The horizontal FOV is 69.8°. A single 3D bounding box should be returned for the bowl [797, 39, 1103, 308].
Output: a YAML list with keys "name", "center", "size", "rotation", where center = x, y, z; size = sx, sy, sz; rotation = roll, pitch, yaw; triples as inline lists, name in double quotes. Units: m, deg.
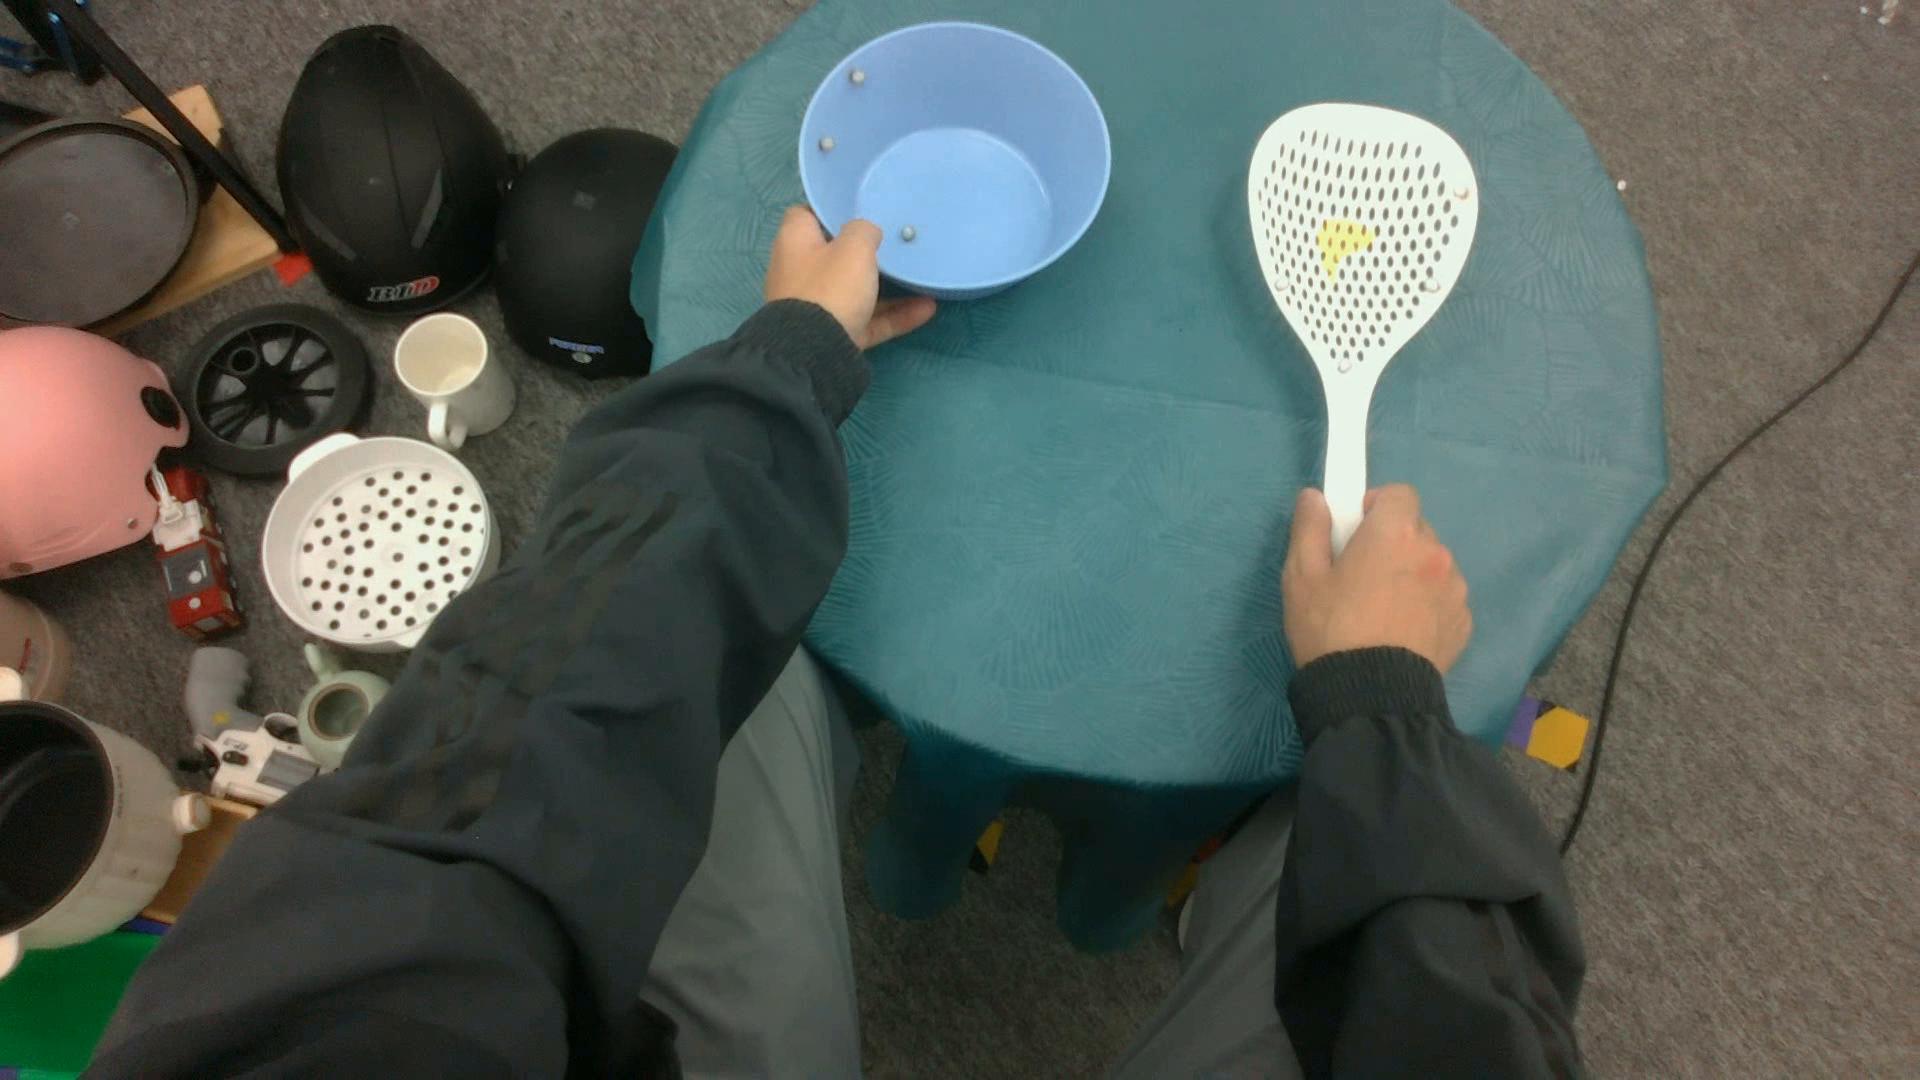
- name: "bowl"
  center: [-0.006, -0.205, 0.818]
  size: [0.176, 0.070, 0.176]
  rotation: [0, 70, -1]

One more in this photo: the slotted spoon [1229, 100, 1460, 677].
- name: "slotted spoon"
  center: [0.220, -0.096, 0.797]
  size: [0.137, 0.050, 0.349]
  rotation: [4, 70, 1]
